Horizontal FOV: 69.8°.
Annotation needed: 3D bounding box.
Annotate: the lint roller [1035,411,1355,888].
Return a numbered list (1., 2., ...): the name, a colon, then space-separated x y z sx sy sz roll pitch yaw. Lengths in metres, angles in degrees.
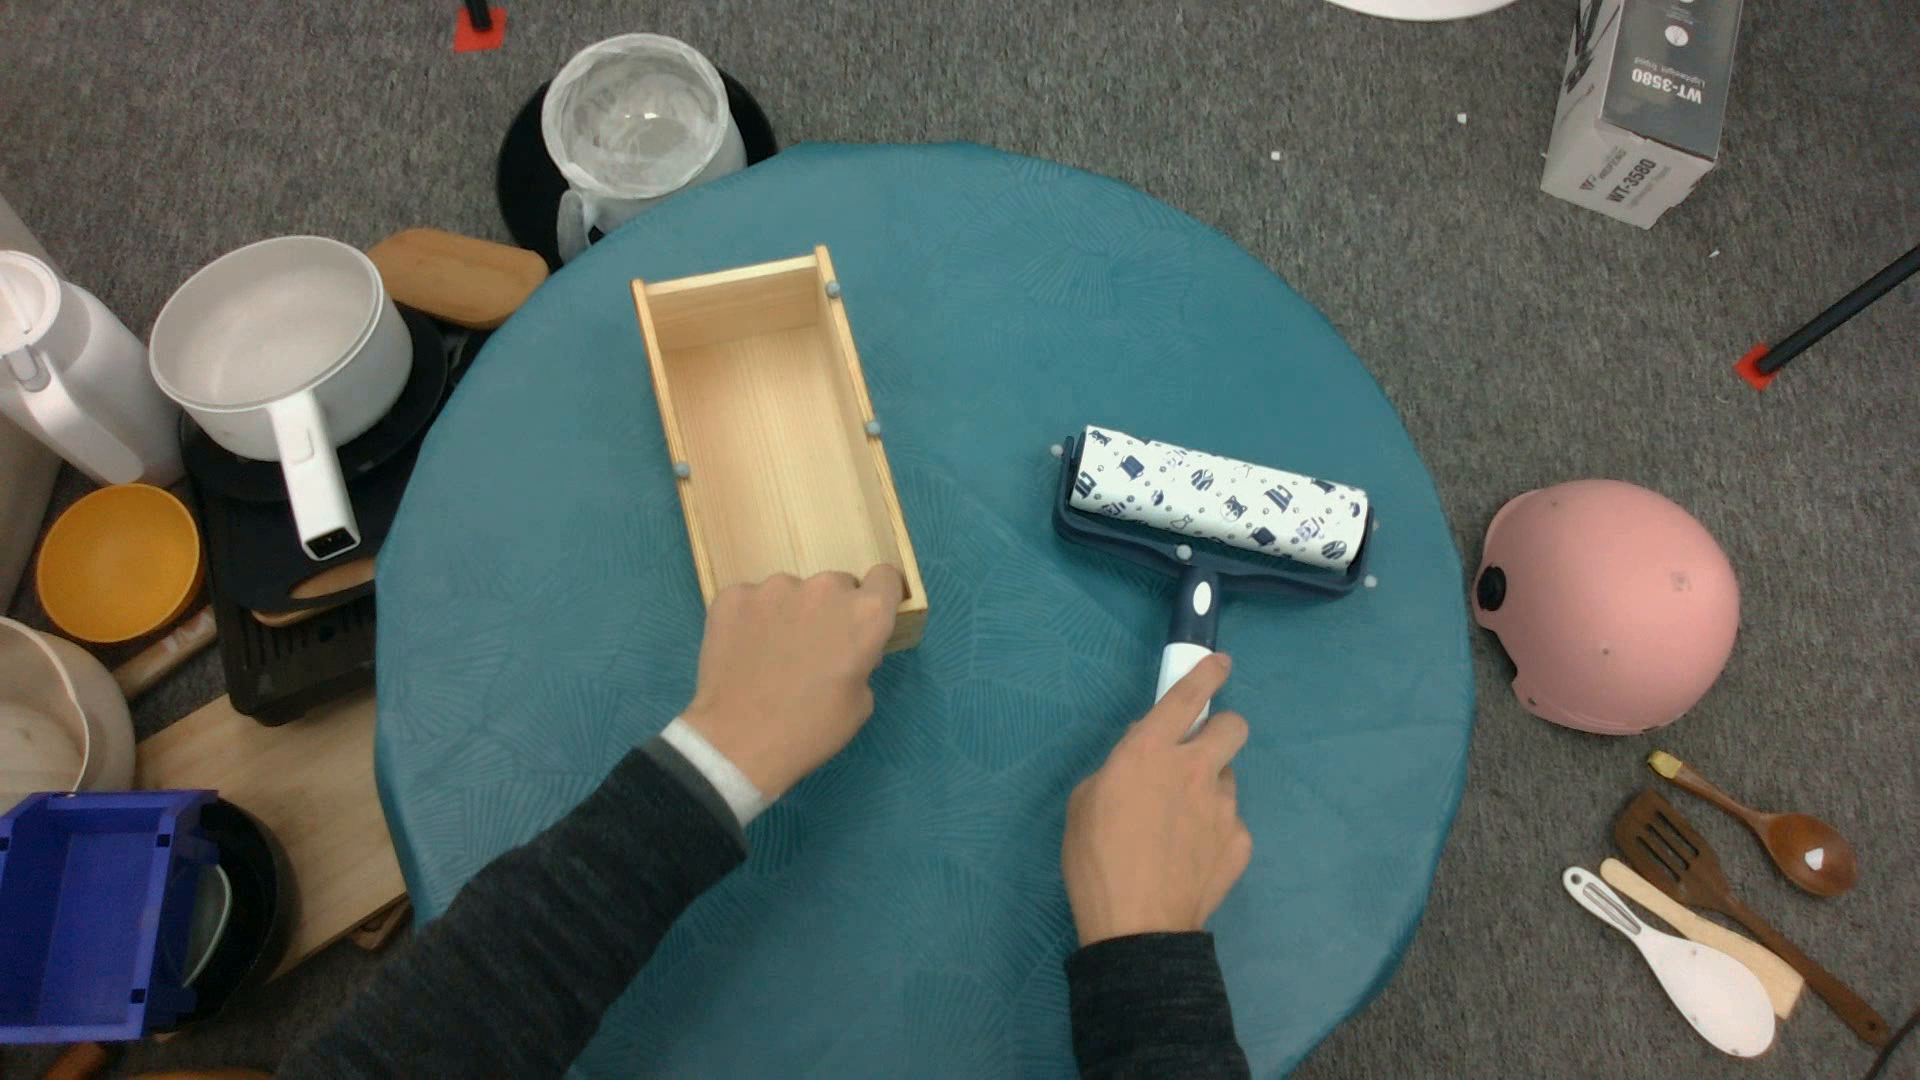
1. lint roller: 0.115 0.059 0.732 0.176 0.050 0.248 13 67 -3

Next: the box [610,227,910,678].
1. box: -0.107 -0.047 0.730 0.107 0.080 0.212 -14 73 -11
